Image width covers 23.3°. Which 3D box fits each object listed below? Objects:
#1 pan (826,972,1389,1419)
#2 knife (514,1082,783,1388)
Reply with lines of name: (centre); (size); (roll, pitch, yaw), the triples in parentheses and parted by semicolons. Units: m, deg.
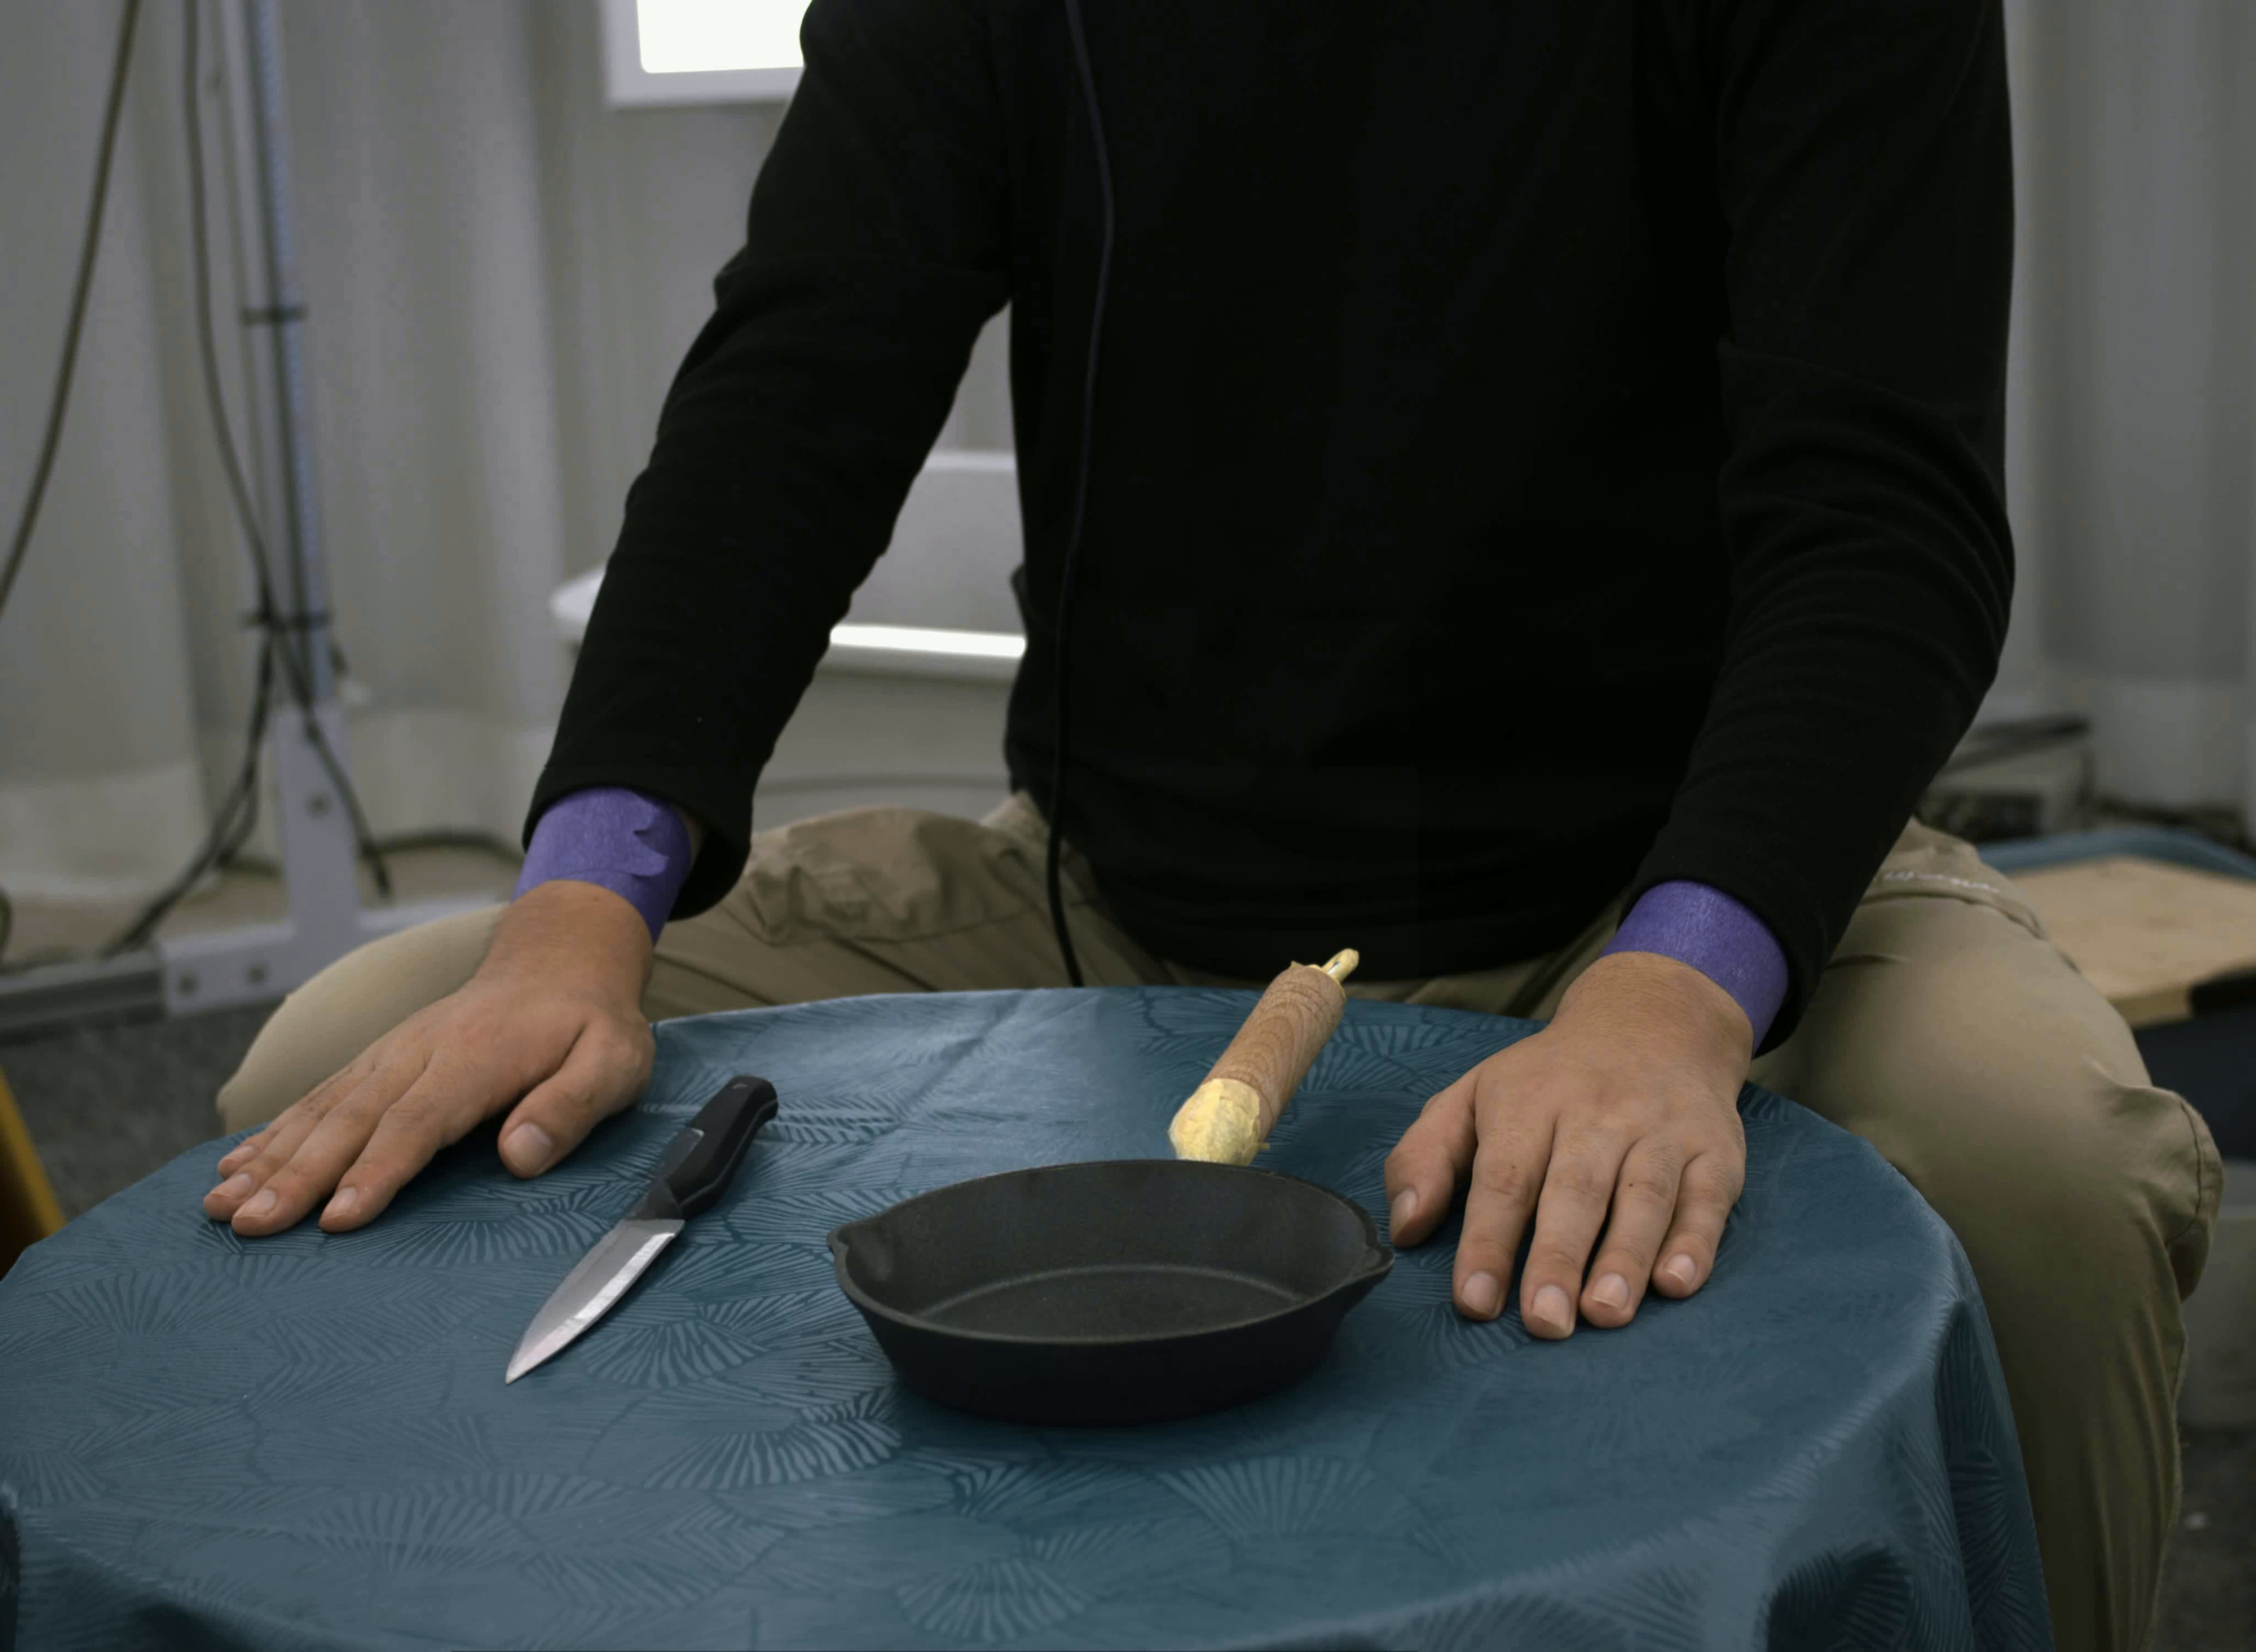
pan: (0.020, 0.108, 1.648); (0.169, 0.049, 0.325); (3, 15, 19)
knife: (-0.150, 0.125, 1.684); (0.024, 0.016, 0.239); (2, 18, 14)
